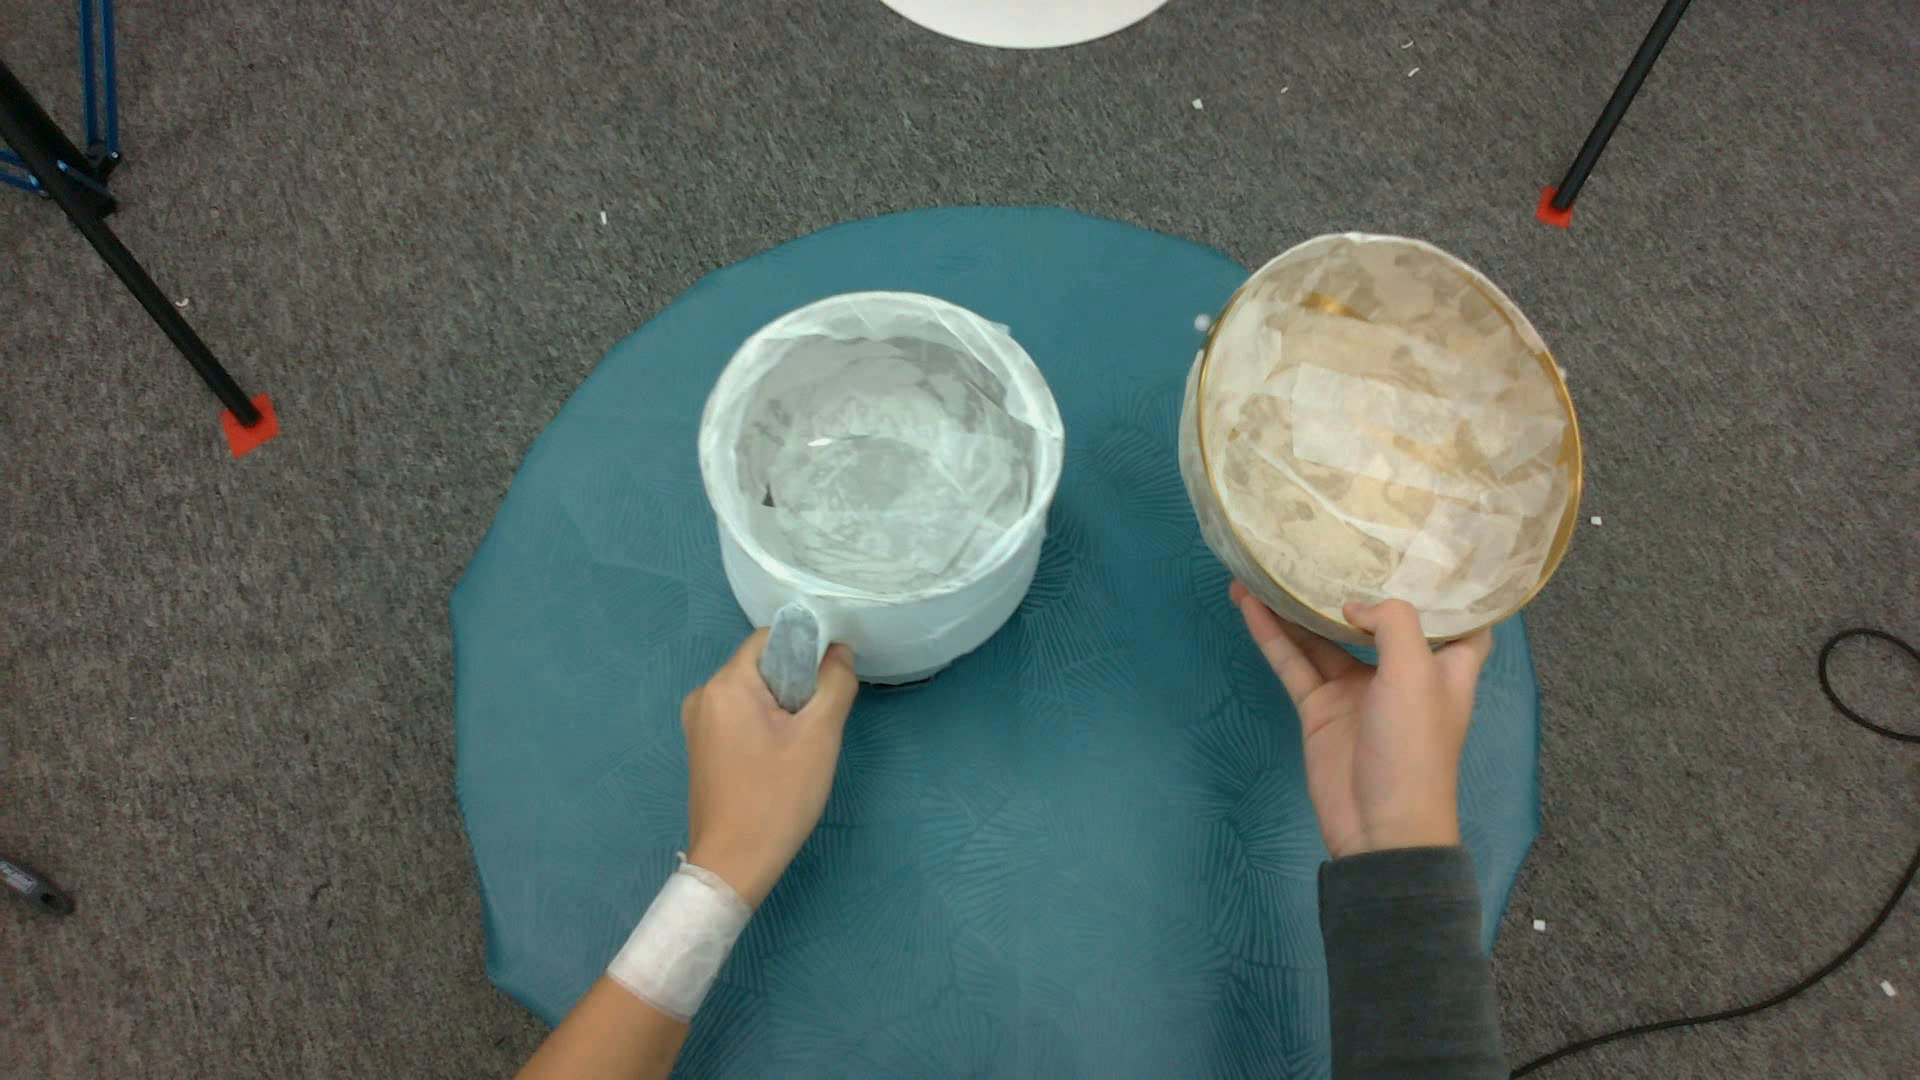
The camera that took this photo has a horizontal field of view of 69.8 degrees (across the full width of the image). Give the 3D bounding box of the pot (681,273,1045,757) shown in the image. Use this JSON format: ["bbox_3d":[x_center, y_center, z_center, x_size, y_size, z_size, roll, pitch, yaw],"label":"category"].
[{"bbox_3d":[-0.059,-0.006,0.714,0.178,0.136,0.234,18,65,5],"label":"pot"}]

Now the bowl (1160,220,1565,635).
[{"bbox_3d":[0.183,-0.046,0.692,0.215,0.094,0.215,4,75,-15],"label":"bowl"}]
